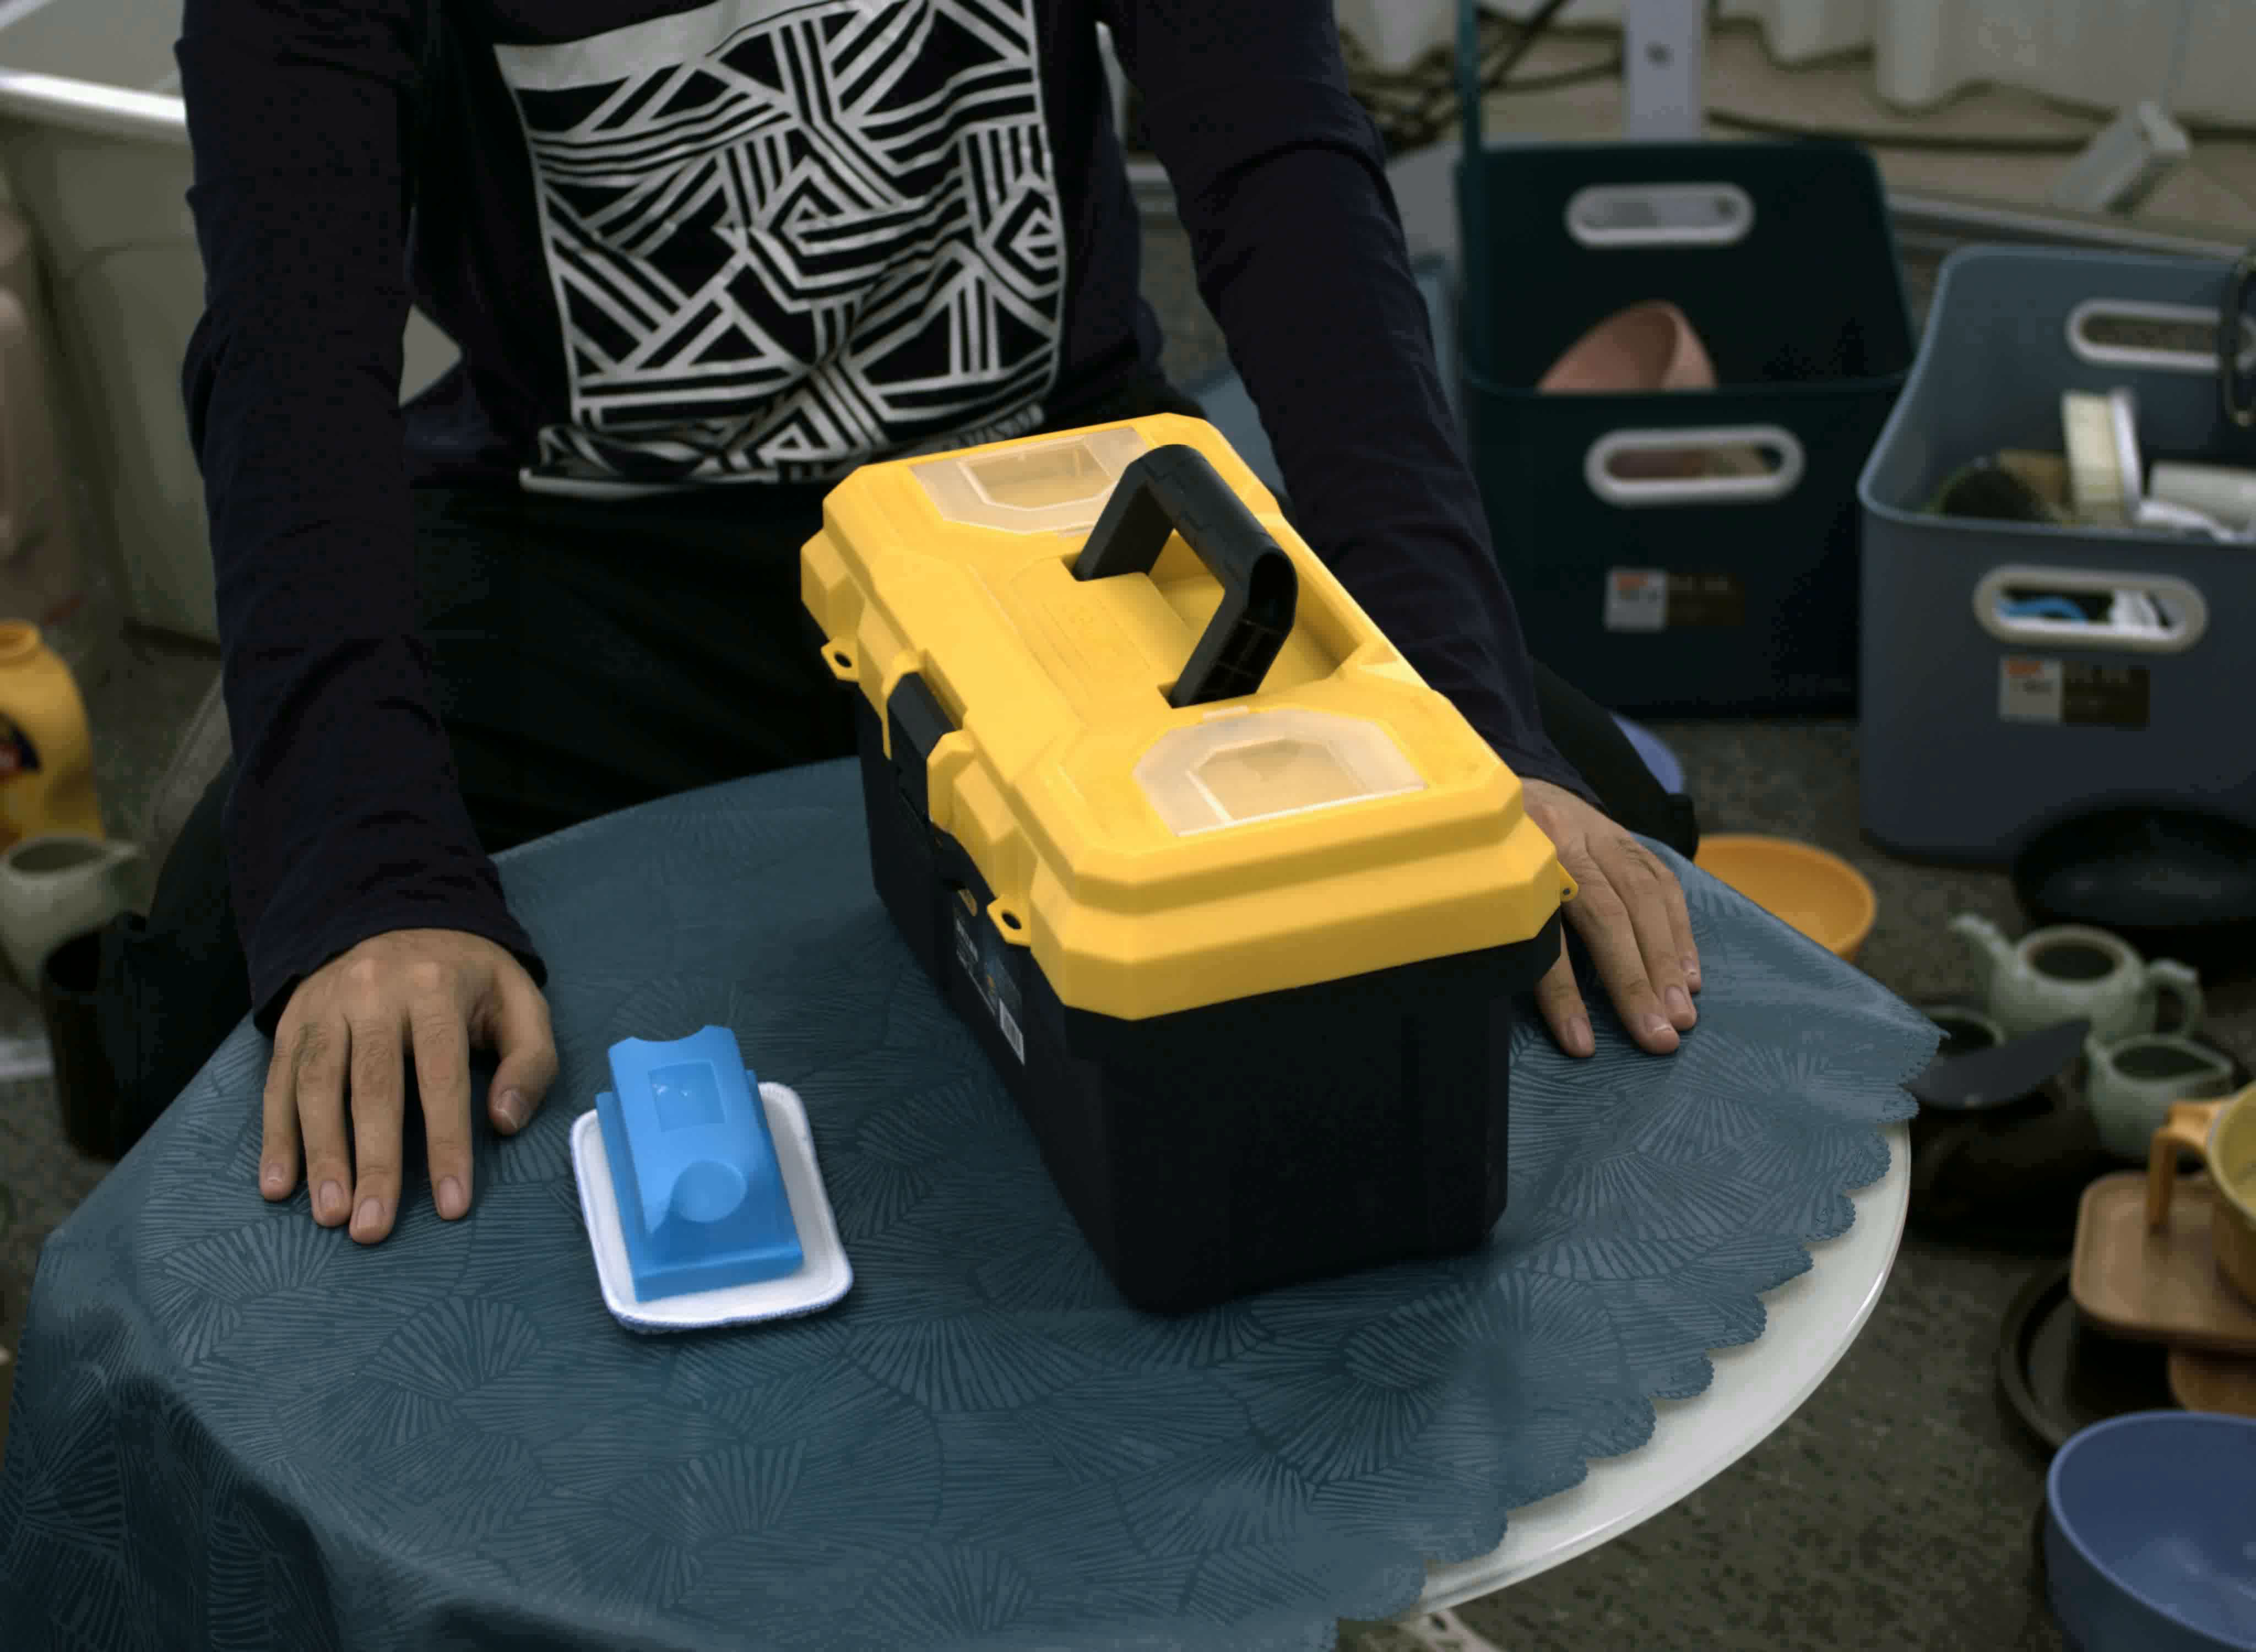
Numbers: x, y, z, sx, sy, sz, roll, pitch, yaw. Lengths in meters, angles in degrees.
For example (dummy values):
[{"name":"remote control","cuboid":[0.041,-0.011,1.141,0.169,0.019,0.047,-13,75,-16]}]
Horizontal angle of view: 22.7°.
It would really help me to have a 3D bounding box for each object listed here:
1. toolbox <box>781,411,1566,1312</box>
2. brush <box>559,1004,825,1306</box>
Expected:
[{"name":"toolbox","cuboid":[0.010,0.005,1.896,0.181,0.171,0.355,-10,28,-15]},{"name":"brush","cuboid":[-0.142,0.104,1.843,0.083,0.055,0.146,-3,29,-8]}]
